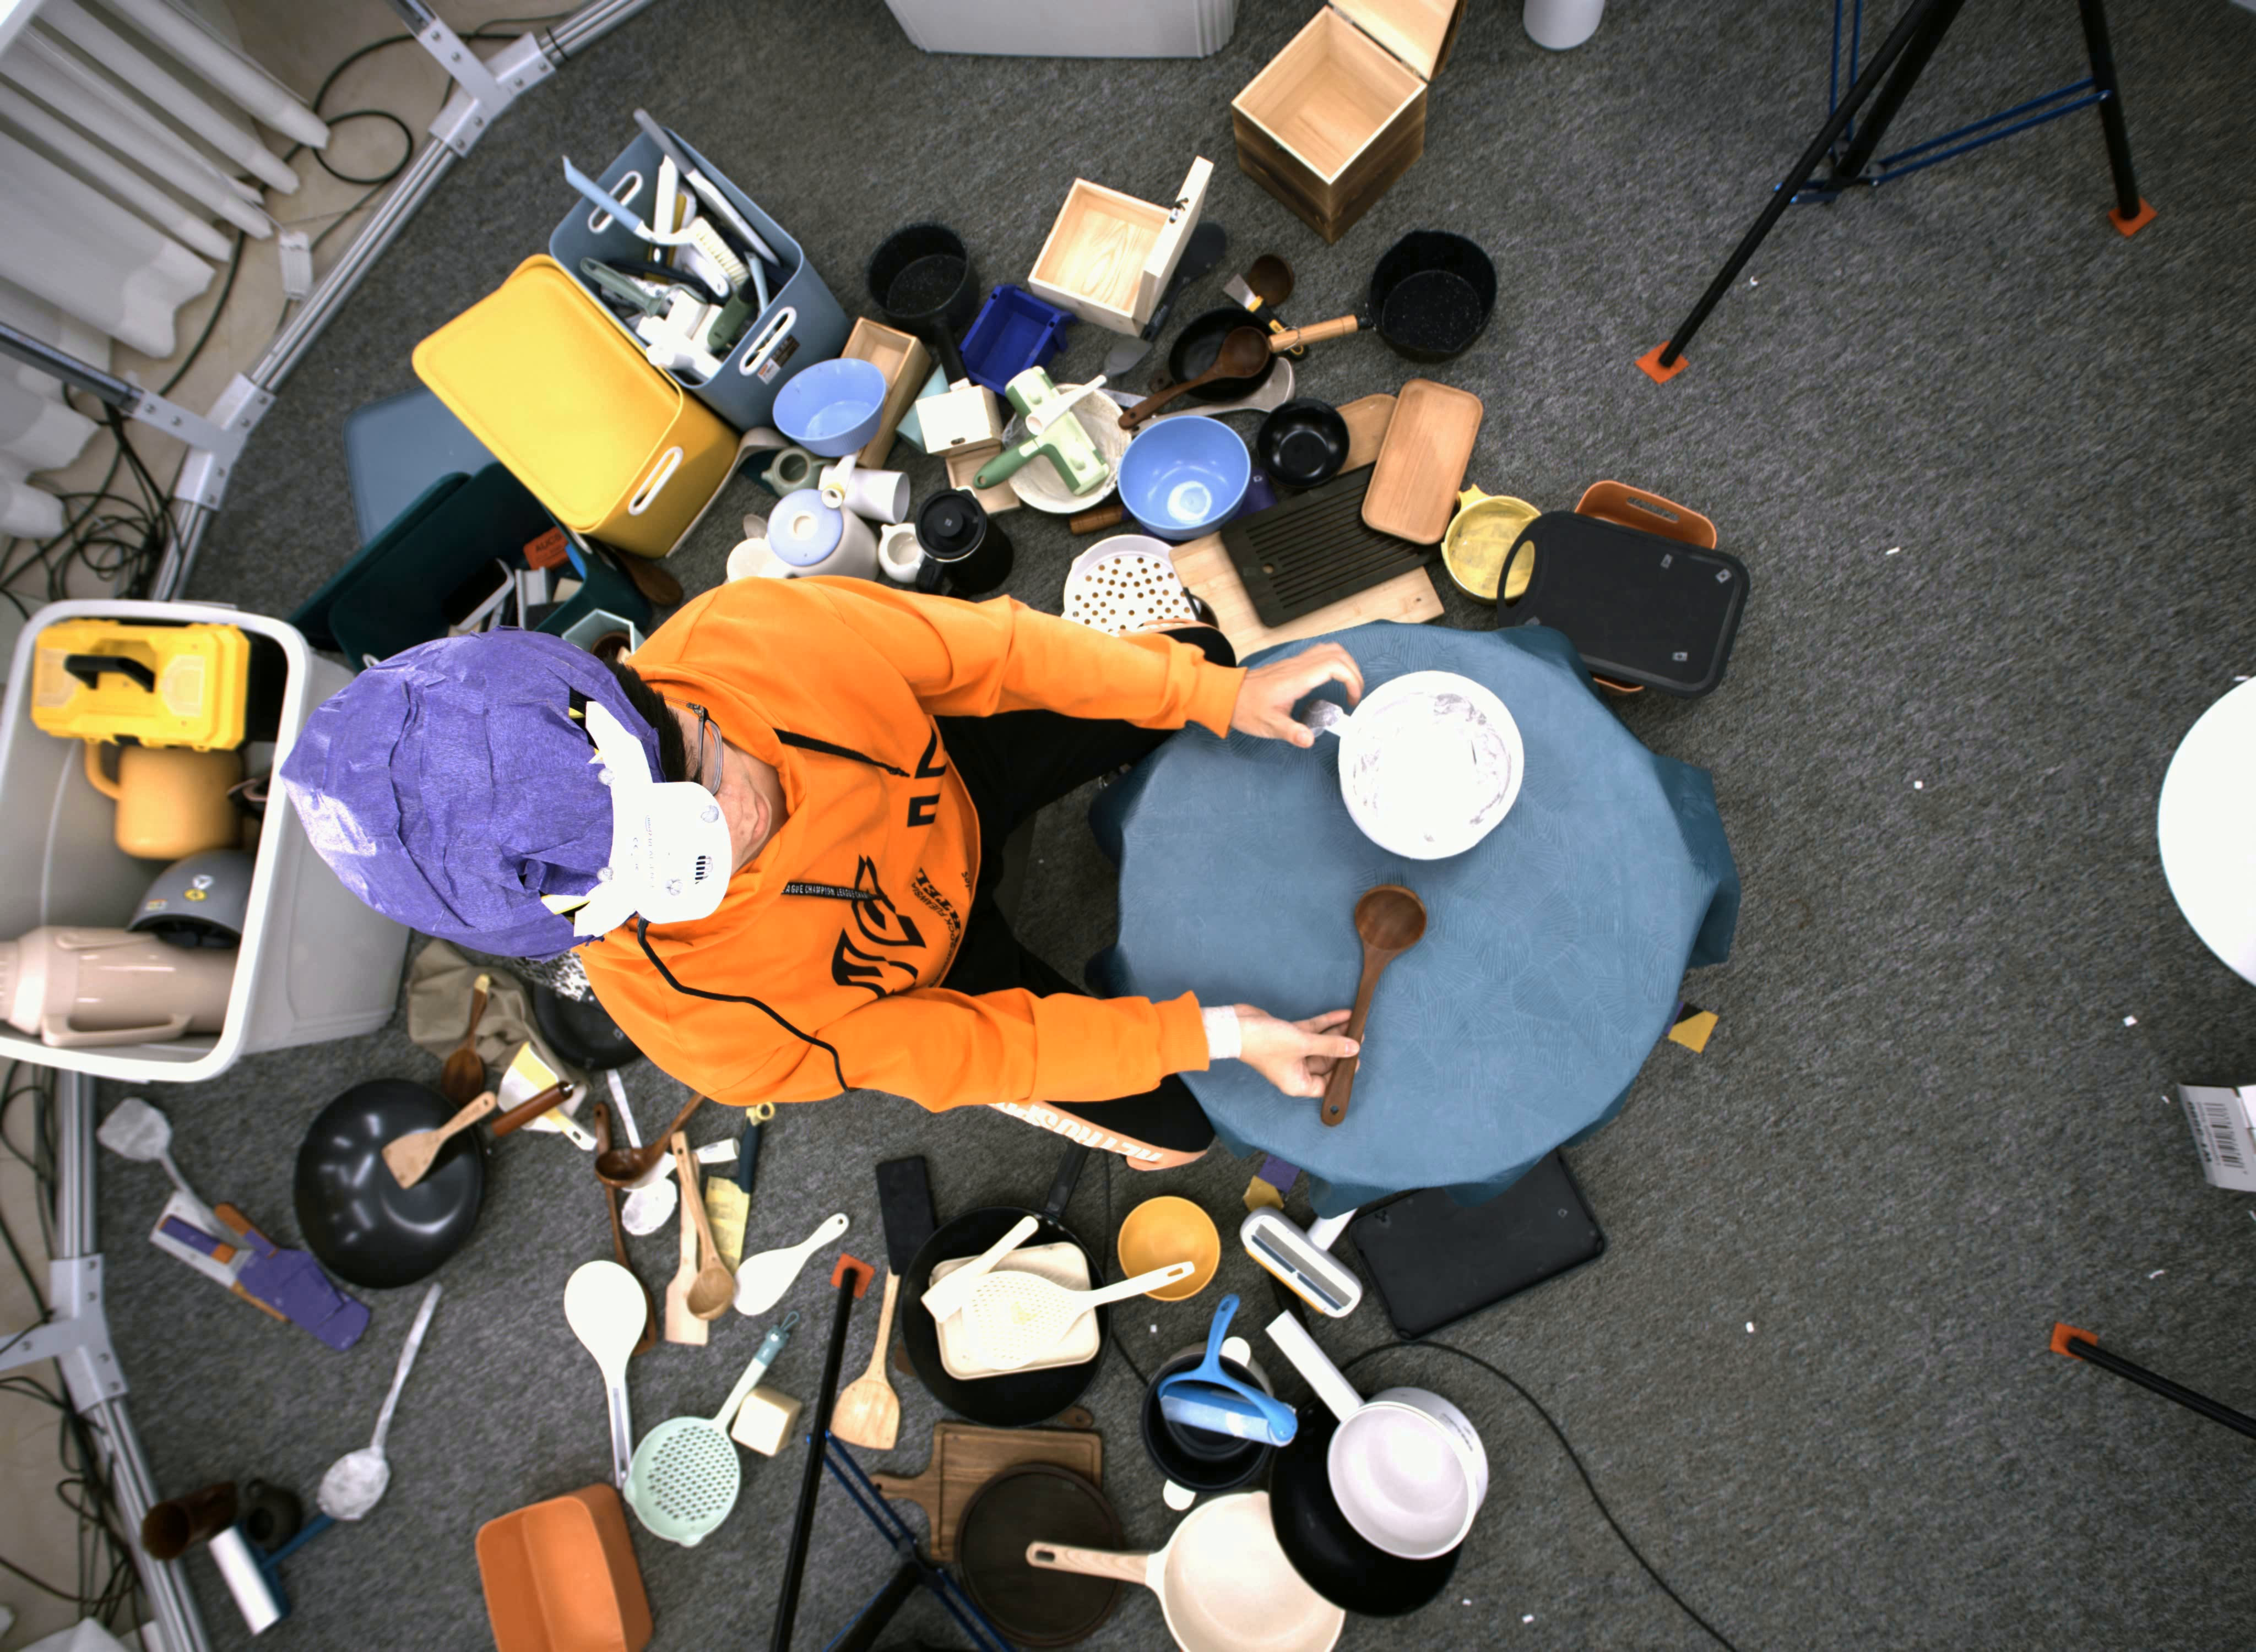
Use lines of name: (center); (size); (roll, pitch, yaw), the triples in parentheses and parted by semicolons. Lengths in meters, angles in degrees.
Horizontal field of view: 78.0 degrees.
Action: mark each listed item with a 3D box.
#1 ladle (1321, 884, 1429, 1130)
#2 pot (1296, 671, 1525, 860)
ladle: (0.243, 0.184, 1.418); (0.076, 0.065, 0.258); (17, 82, 15)
pot: (0.279, -0.070, 1.396); (0.233, 0.137, 0.178); (25, 90, 11)
